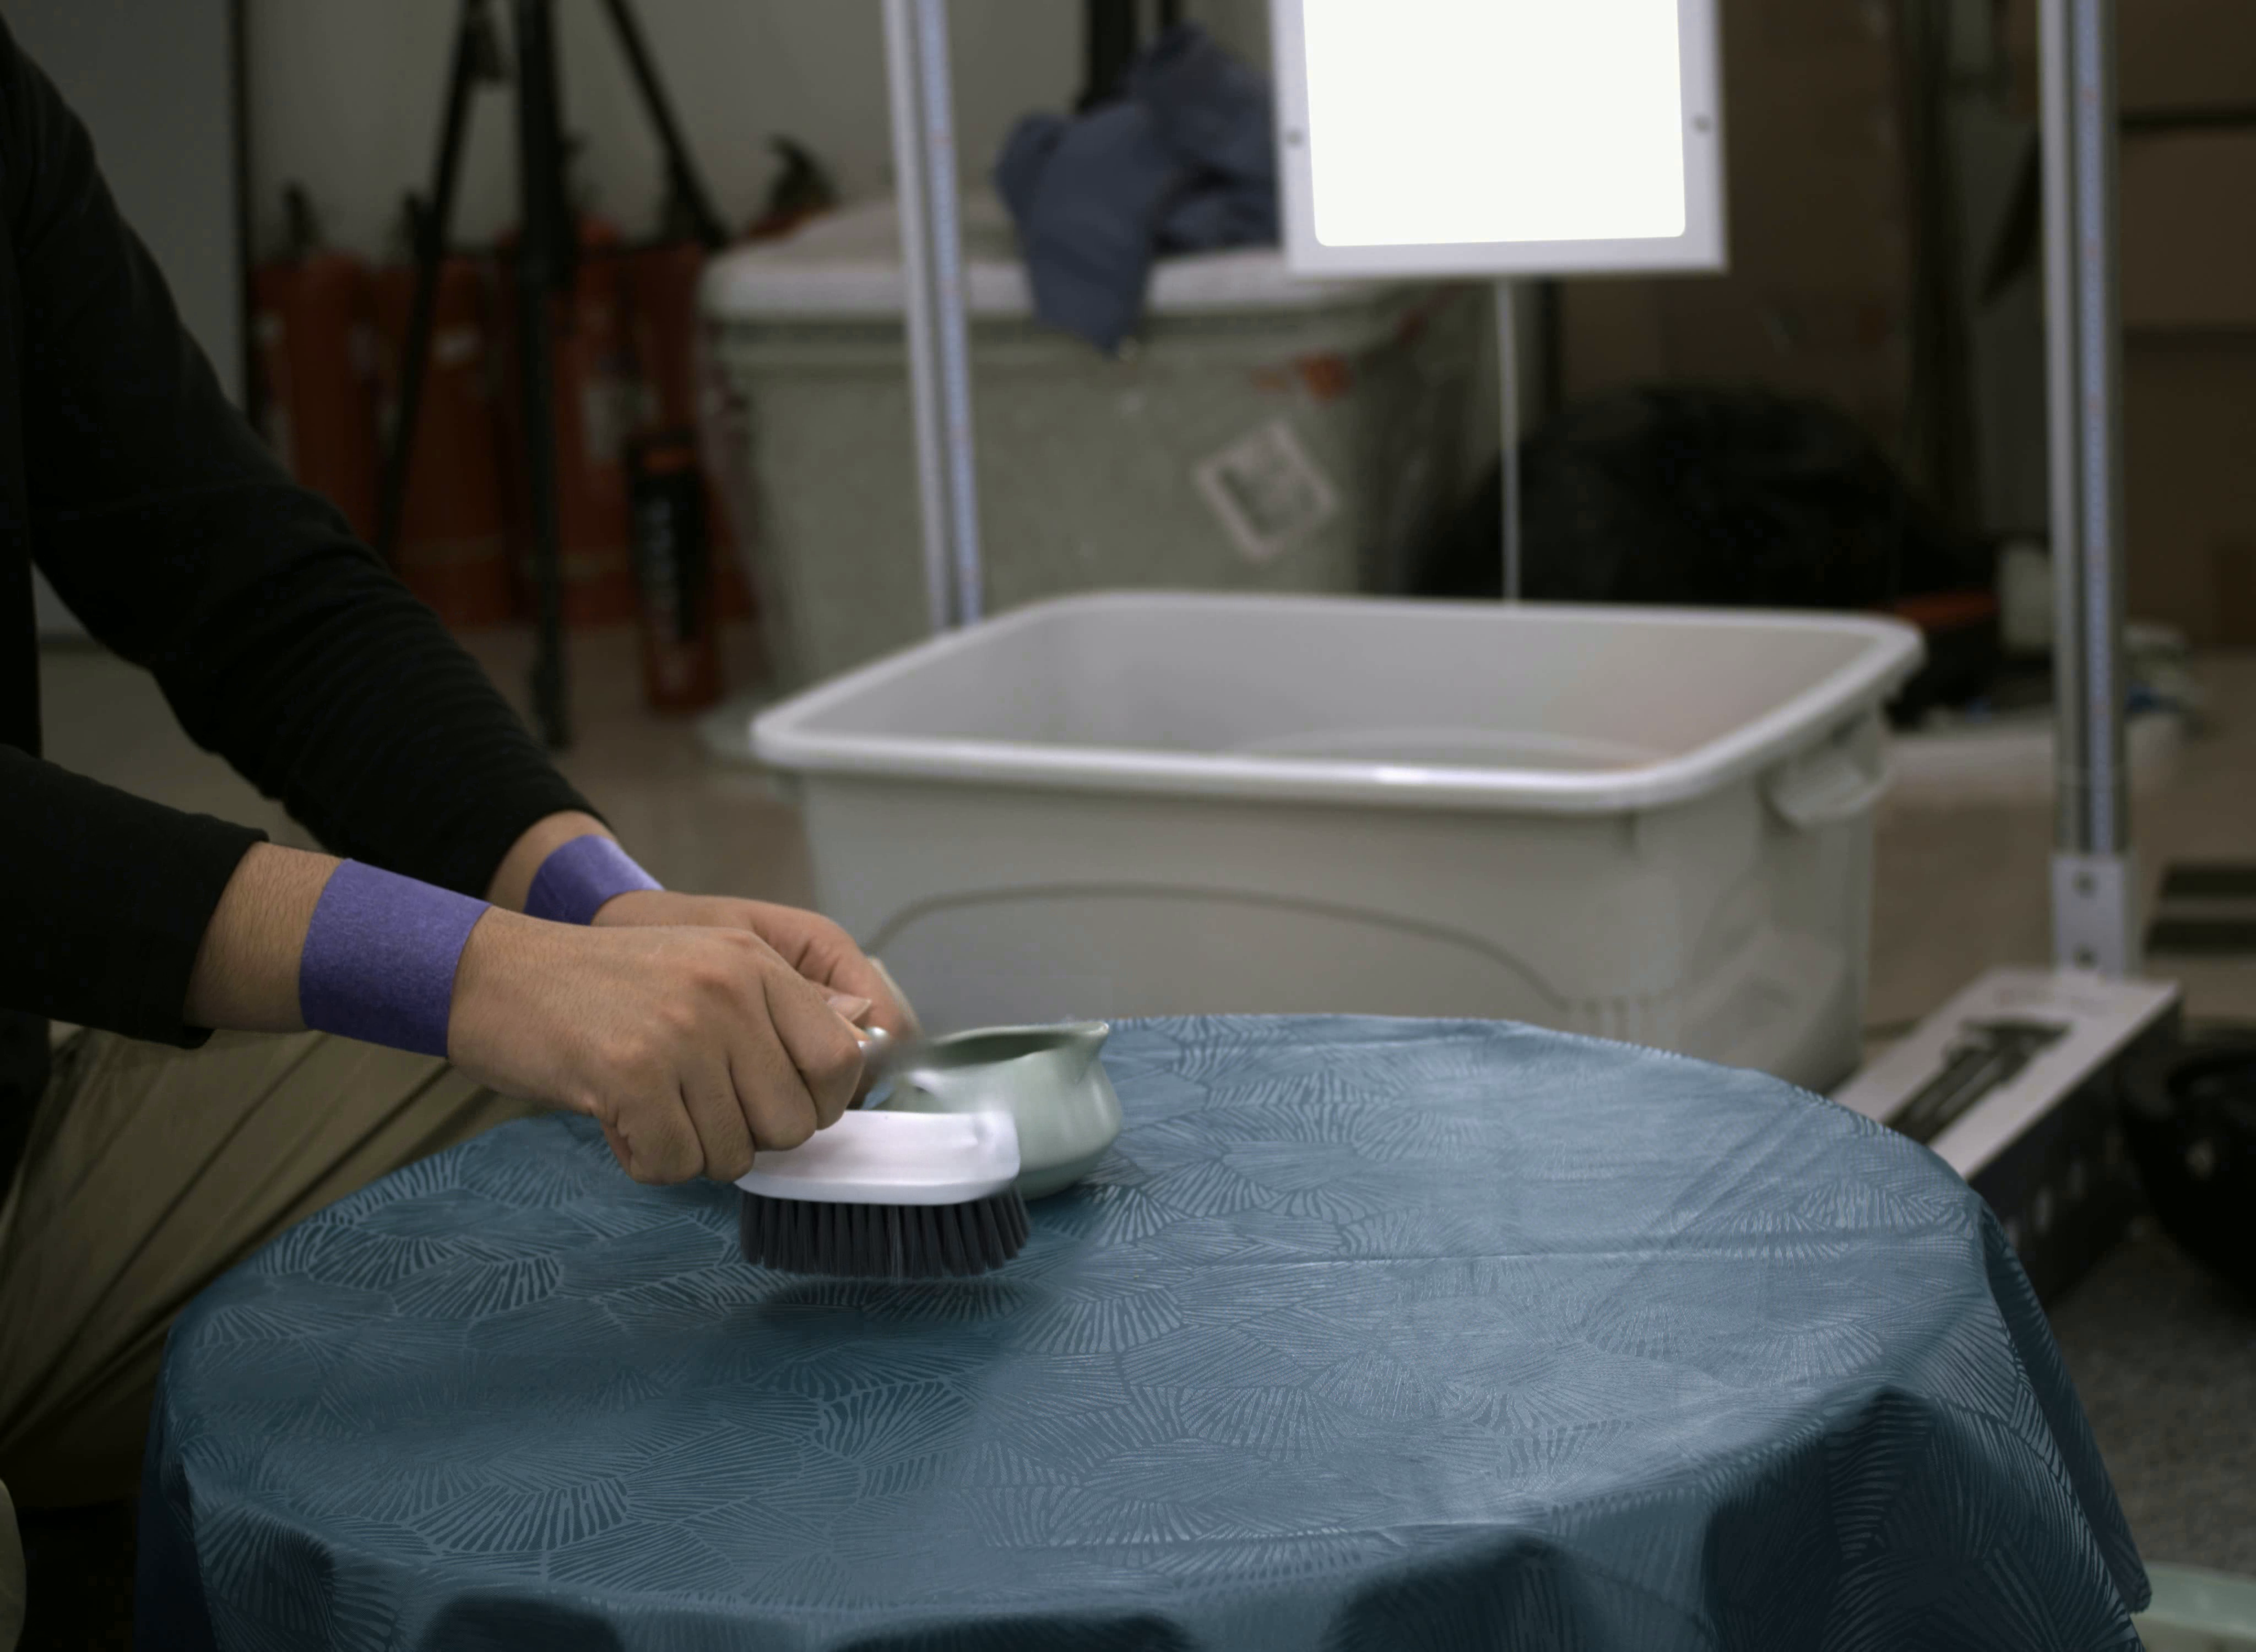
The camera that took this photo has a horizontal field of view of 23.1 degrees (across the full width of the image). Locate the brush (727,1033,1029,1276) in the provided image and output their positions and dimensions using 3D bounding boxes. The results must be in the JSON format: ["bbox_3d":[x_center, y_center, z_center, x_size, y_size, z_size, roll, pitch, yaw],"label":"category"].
[{"bbox_3d":[-0.083,0.102,1.794,0.100,0.073,0.049,4,27,21],"label":"brush"}]

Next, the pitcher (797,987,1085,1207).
[{"bbox_3d":[-0.067,0.095,1.916,0.109,0.061,0.084,17,31,17],"label":"pitcher"}]
